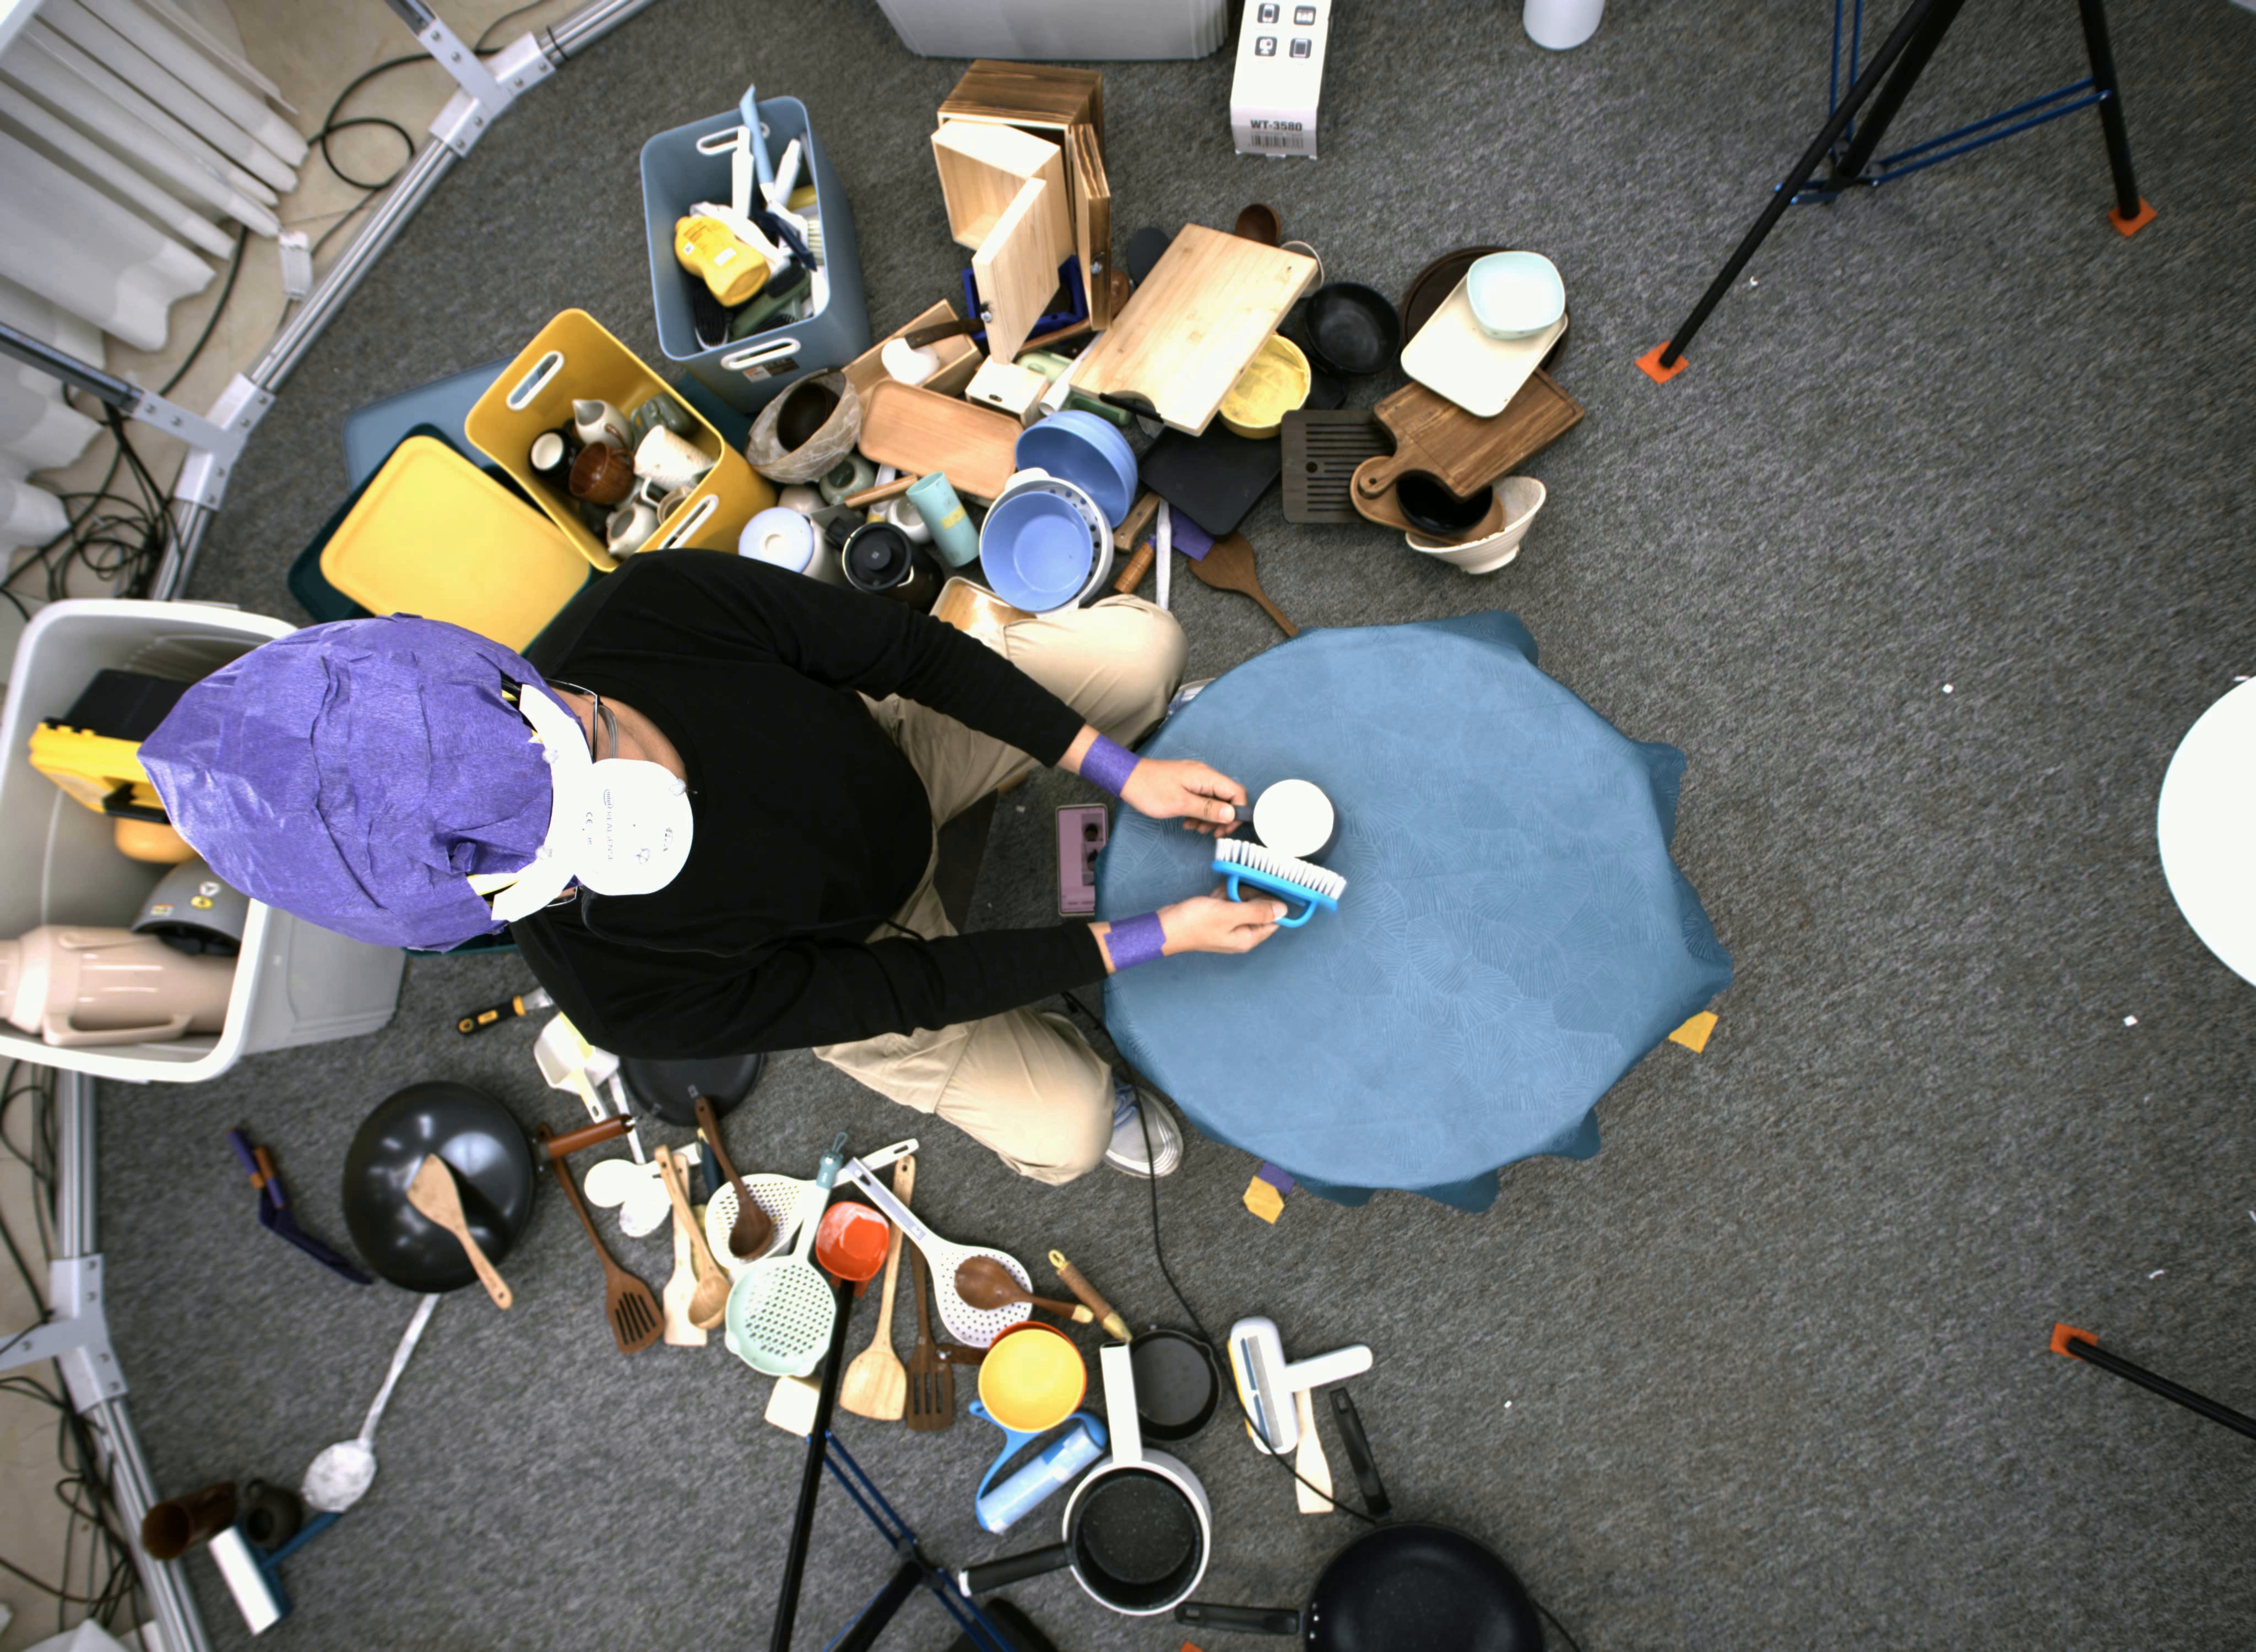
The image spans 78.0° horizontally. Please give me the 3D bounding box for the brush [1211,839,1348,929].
[{"bbox_3d":[0.149,0.065,1.411,0.142,0.084,0.063,20,85,-9],"label":"brush"}]

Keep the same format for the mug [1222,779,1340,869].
[{"bbox_3d":[0.159,-0.007,1.436,0.123,0.090,0.093,9,86,9],"label":"mug"}]
